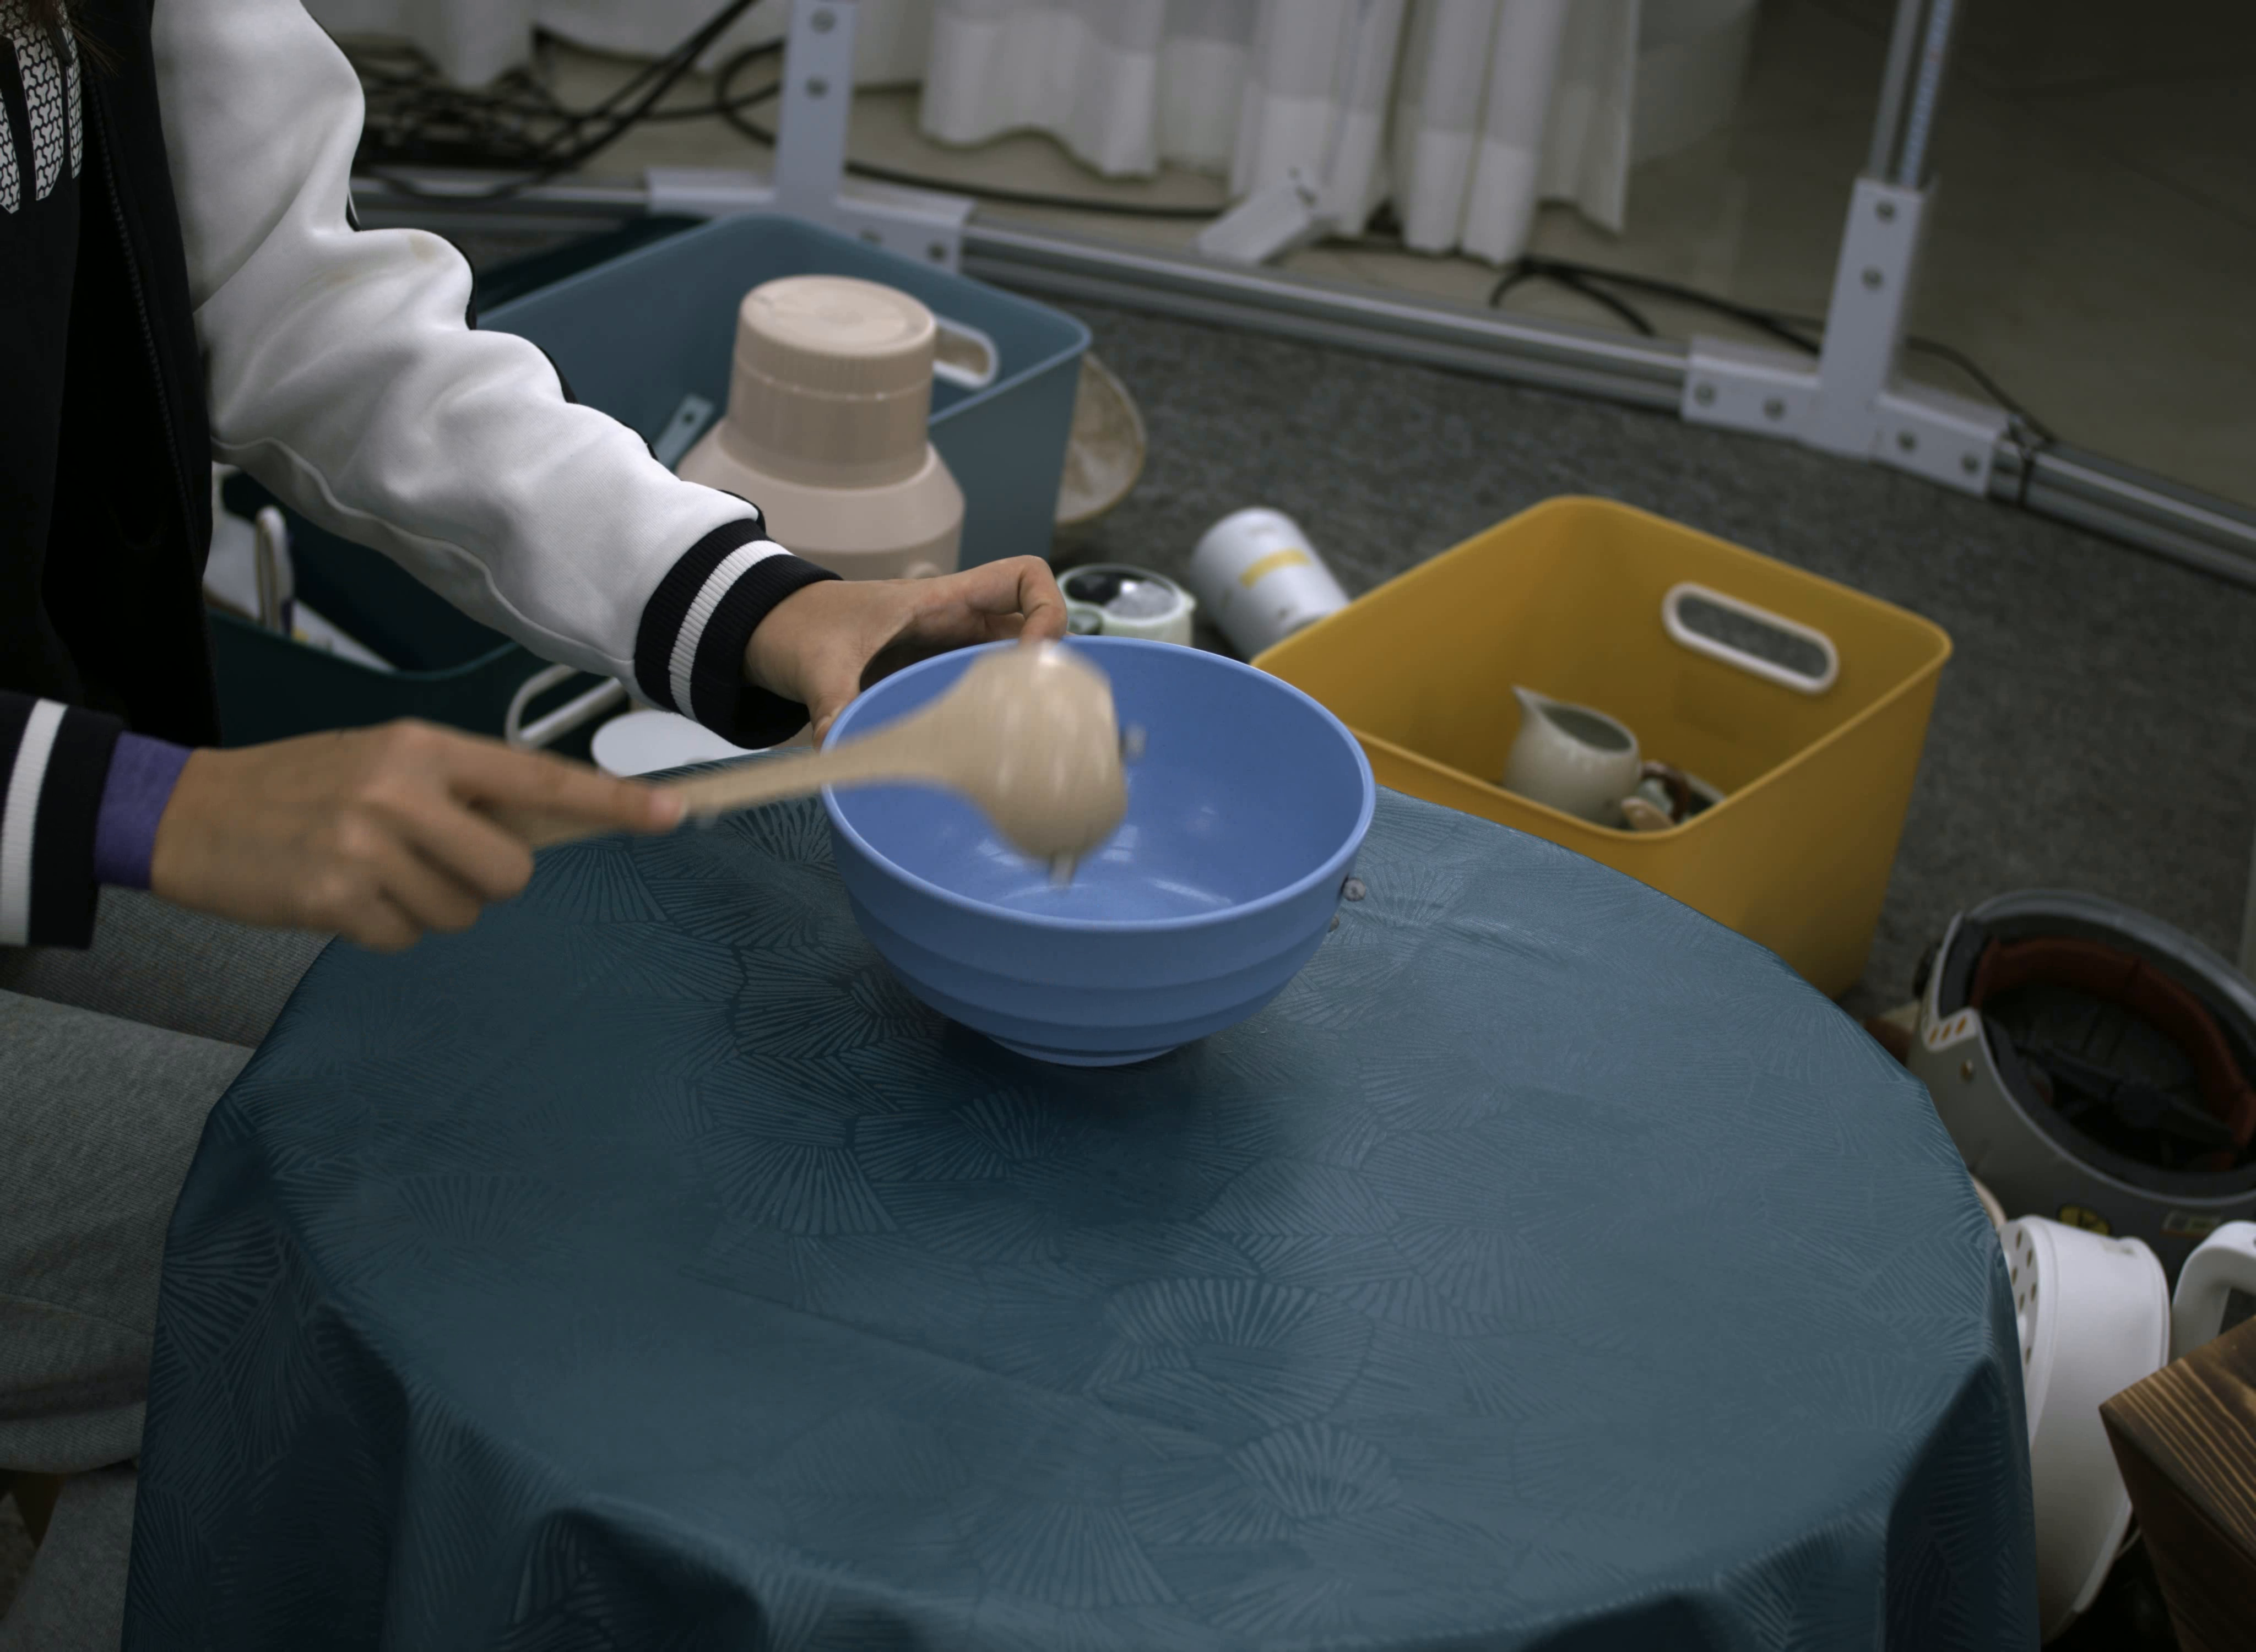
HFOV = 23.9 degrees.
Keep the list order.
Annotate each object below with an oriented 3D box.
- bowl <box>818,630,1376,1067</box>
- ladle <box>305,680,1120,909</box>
[{"bbox_3d":[-0.013,0.021,1.889,0.196,0.095,0.198,2,33,-1],"label":"bowl"},{"bbox_3d":[-0.128,0.004,1.682,0.254,0.072,0.072,-8,-19,10],"label":"ladle"}]
